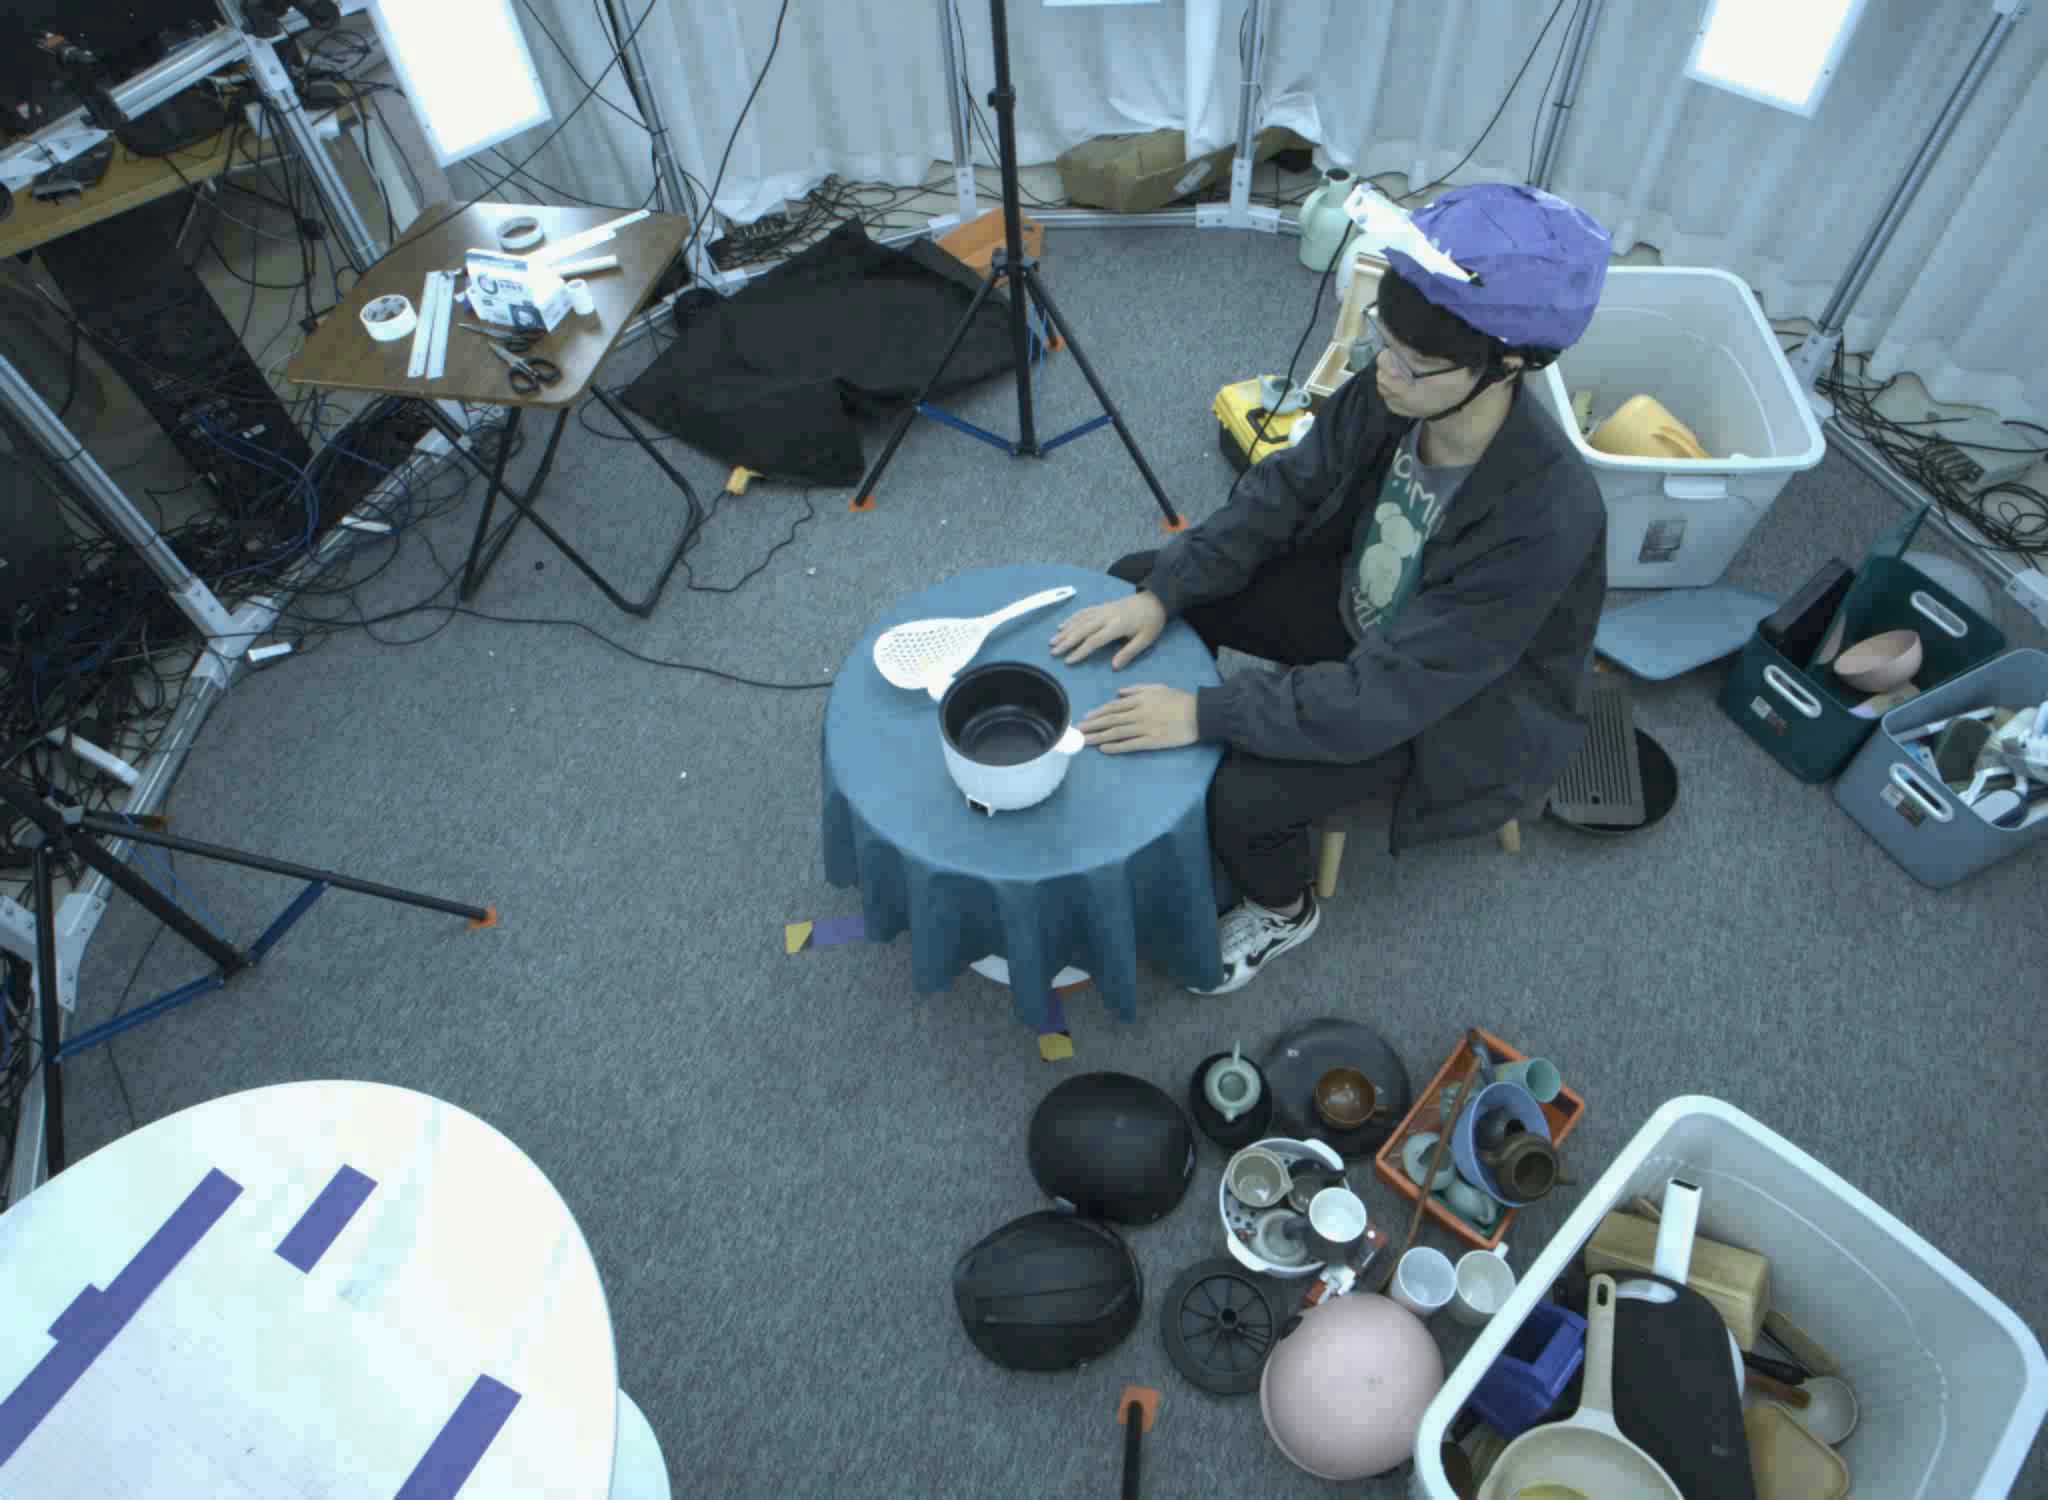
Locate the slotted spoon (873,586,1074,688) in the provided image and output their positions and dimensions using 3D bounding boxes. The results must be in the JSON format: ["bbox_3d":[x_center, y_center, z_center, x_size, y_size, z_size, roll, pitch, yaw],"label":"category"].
[{"bbox_3d":[-0.066,-0.186,1.888,0.350,0.051,0.134,-29,57,-17],"label":"slotted spoon"}]

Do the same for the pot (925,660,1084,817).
[{"bbox_3d":[-0.023,-0.017,1.707,0.237,0.144,0.191,24,62,17],"label":"pot"}]
